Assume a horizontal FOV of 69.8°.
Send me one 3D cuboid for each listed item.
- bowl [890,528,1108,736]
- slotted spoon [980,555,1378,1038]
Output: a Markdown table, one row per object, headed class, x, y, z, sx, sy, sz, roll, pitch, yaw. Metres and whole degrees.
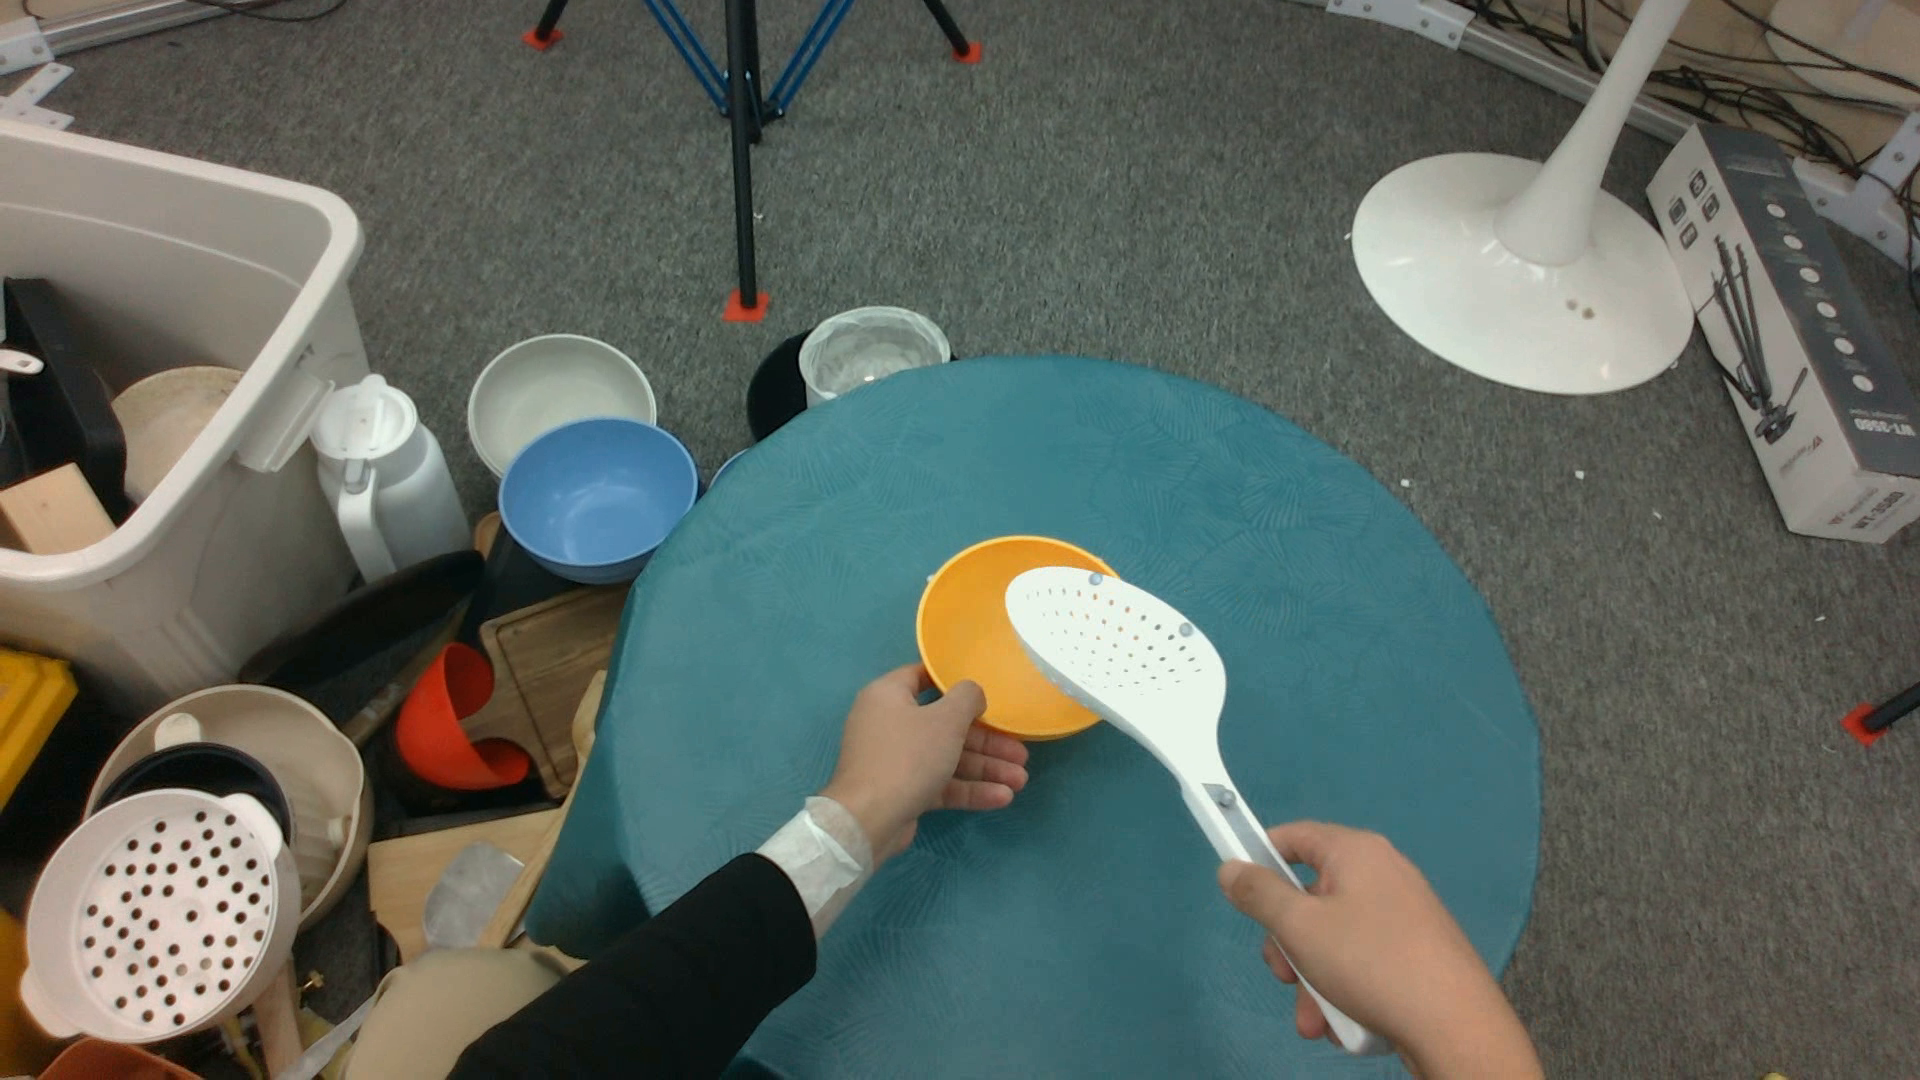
| class | x | y | z | sx | sy | sz | roll | pitch | yaw |
| --- | --- | --- | --- | --- | --- | --- | --- | --- | --- |
| bowl | 0.027 | 0.067 | 0.879 | 0.145 | 0.060 | 0.146 | 2 | 58 | -3 |
| slotted spoon | 0.109 | 0.112 | 0.713 | 0.136 | 0.045 | 0.350 | 9 | 24 | -28 |
